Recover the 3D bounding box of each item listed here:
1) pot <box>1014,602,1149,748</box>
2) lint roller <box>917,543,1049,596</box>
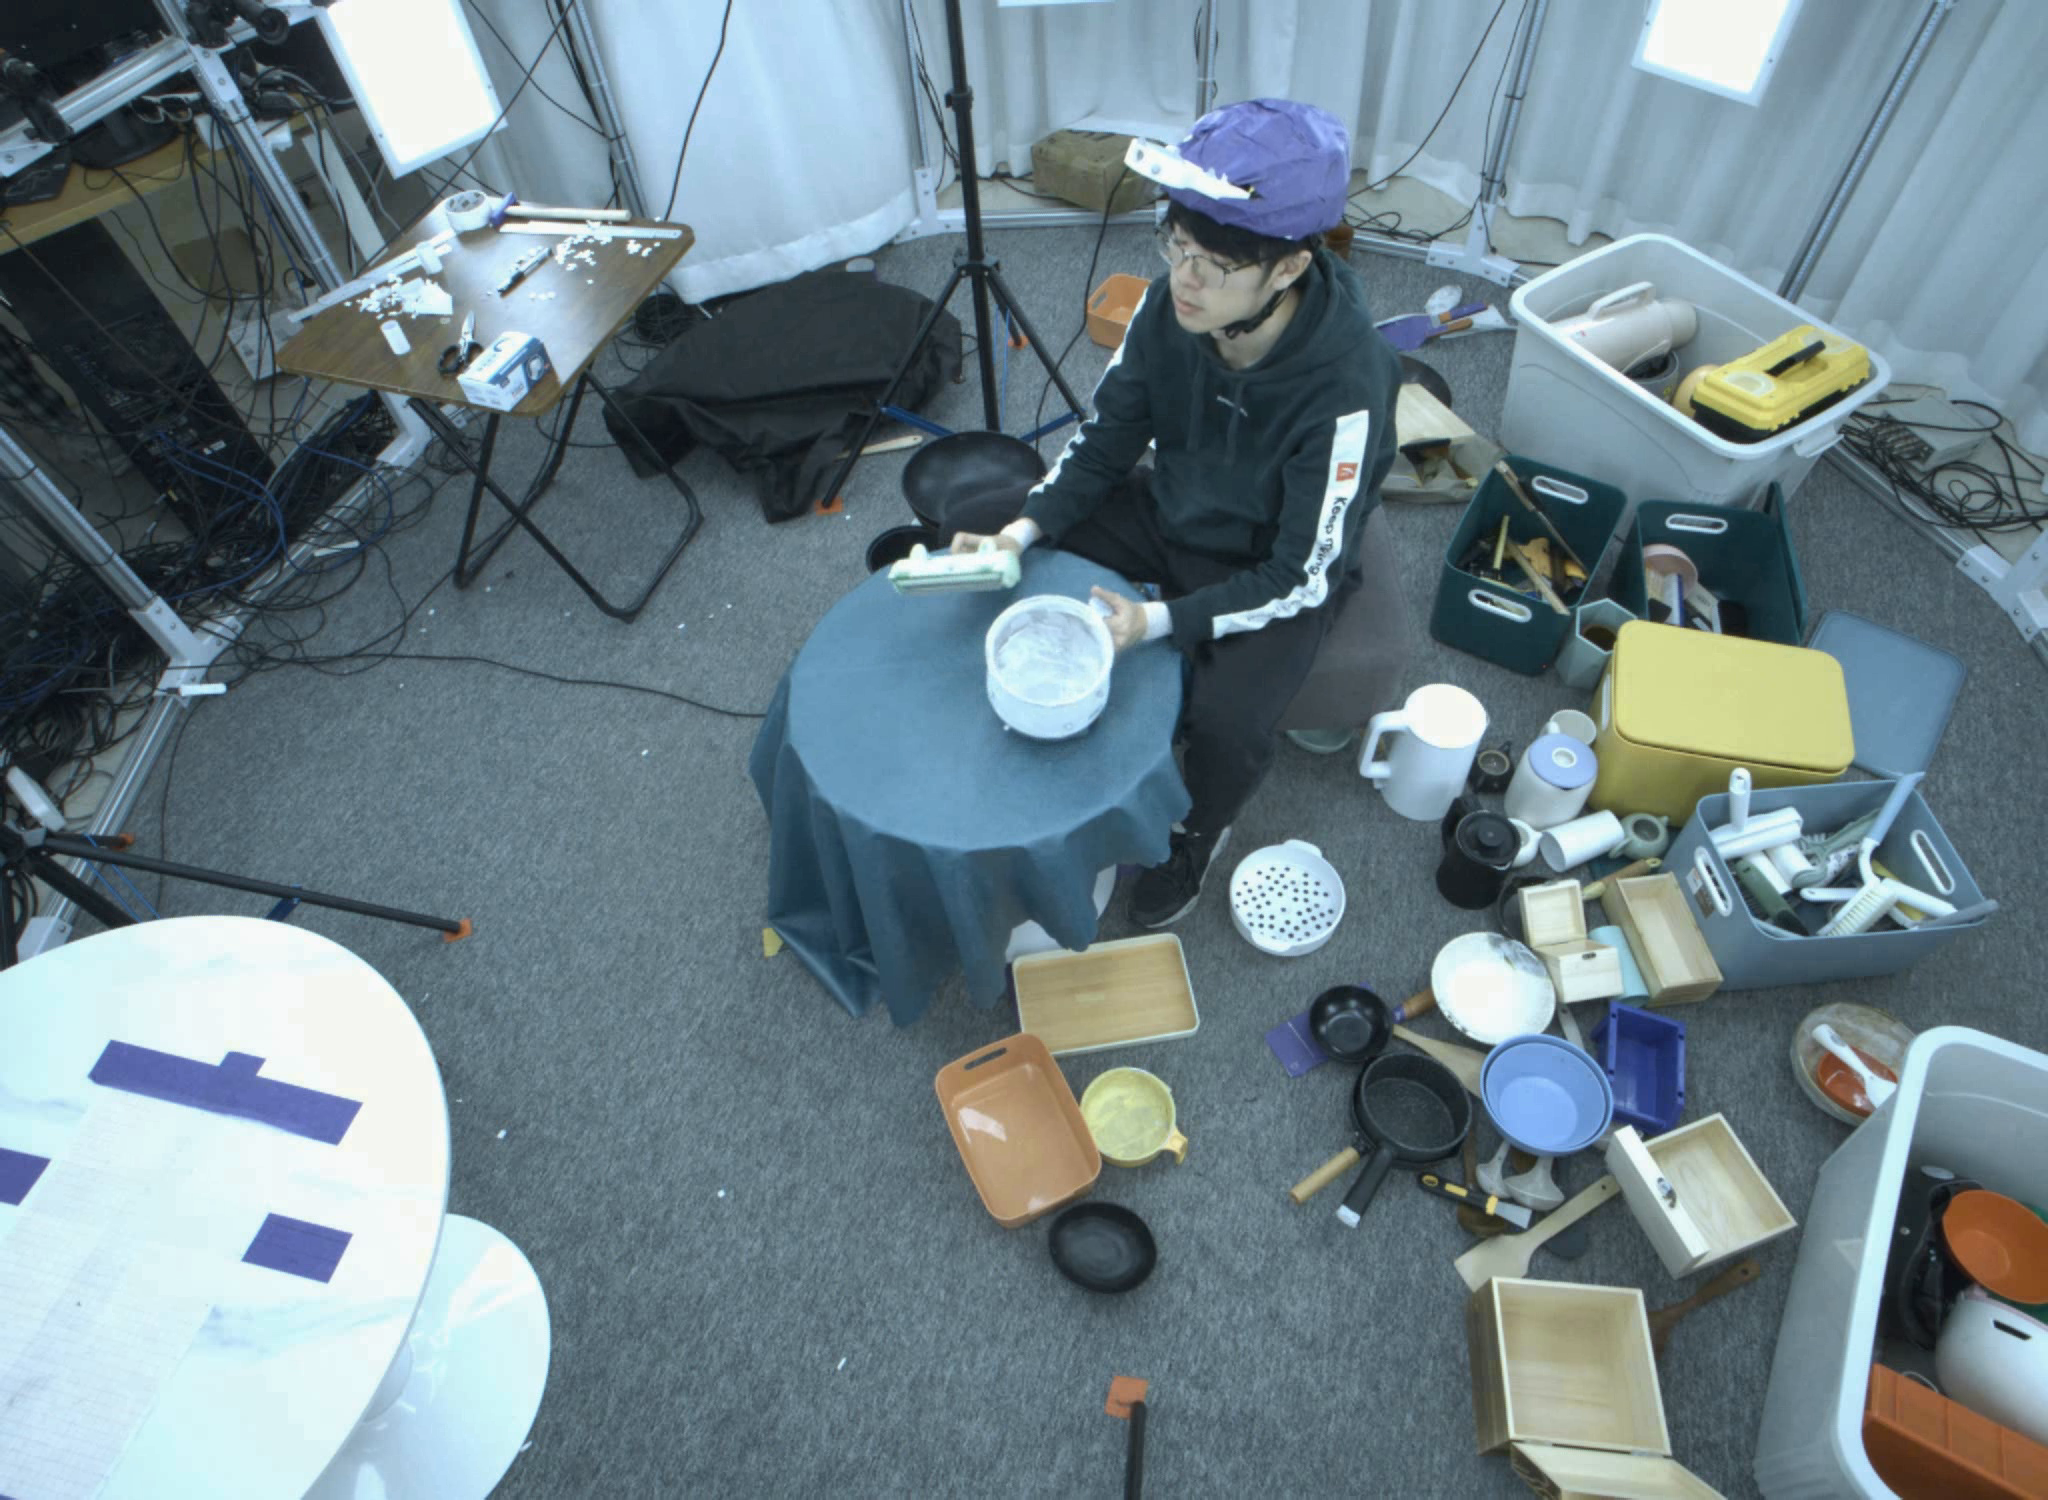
[{"bbox_3d":[0.094,-0.120,1.750,0.177,0.137,0.235,39,71,14],"label":"pot"},{"bbox_3d":[-0.040,-0.287,1.871,0.195,0.083,0.184,3,25,25],"label":"lint roller"}]
